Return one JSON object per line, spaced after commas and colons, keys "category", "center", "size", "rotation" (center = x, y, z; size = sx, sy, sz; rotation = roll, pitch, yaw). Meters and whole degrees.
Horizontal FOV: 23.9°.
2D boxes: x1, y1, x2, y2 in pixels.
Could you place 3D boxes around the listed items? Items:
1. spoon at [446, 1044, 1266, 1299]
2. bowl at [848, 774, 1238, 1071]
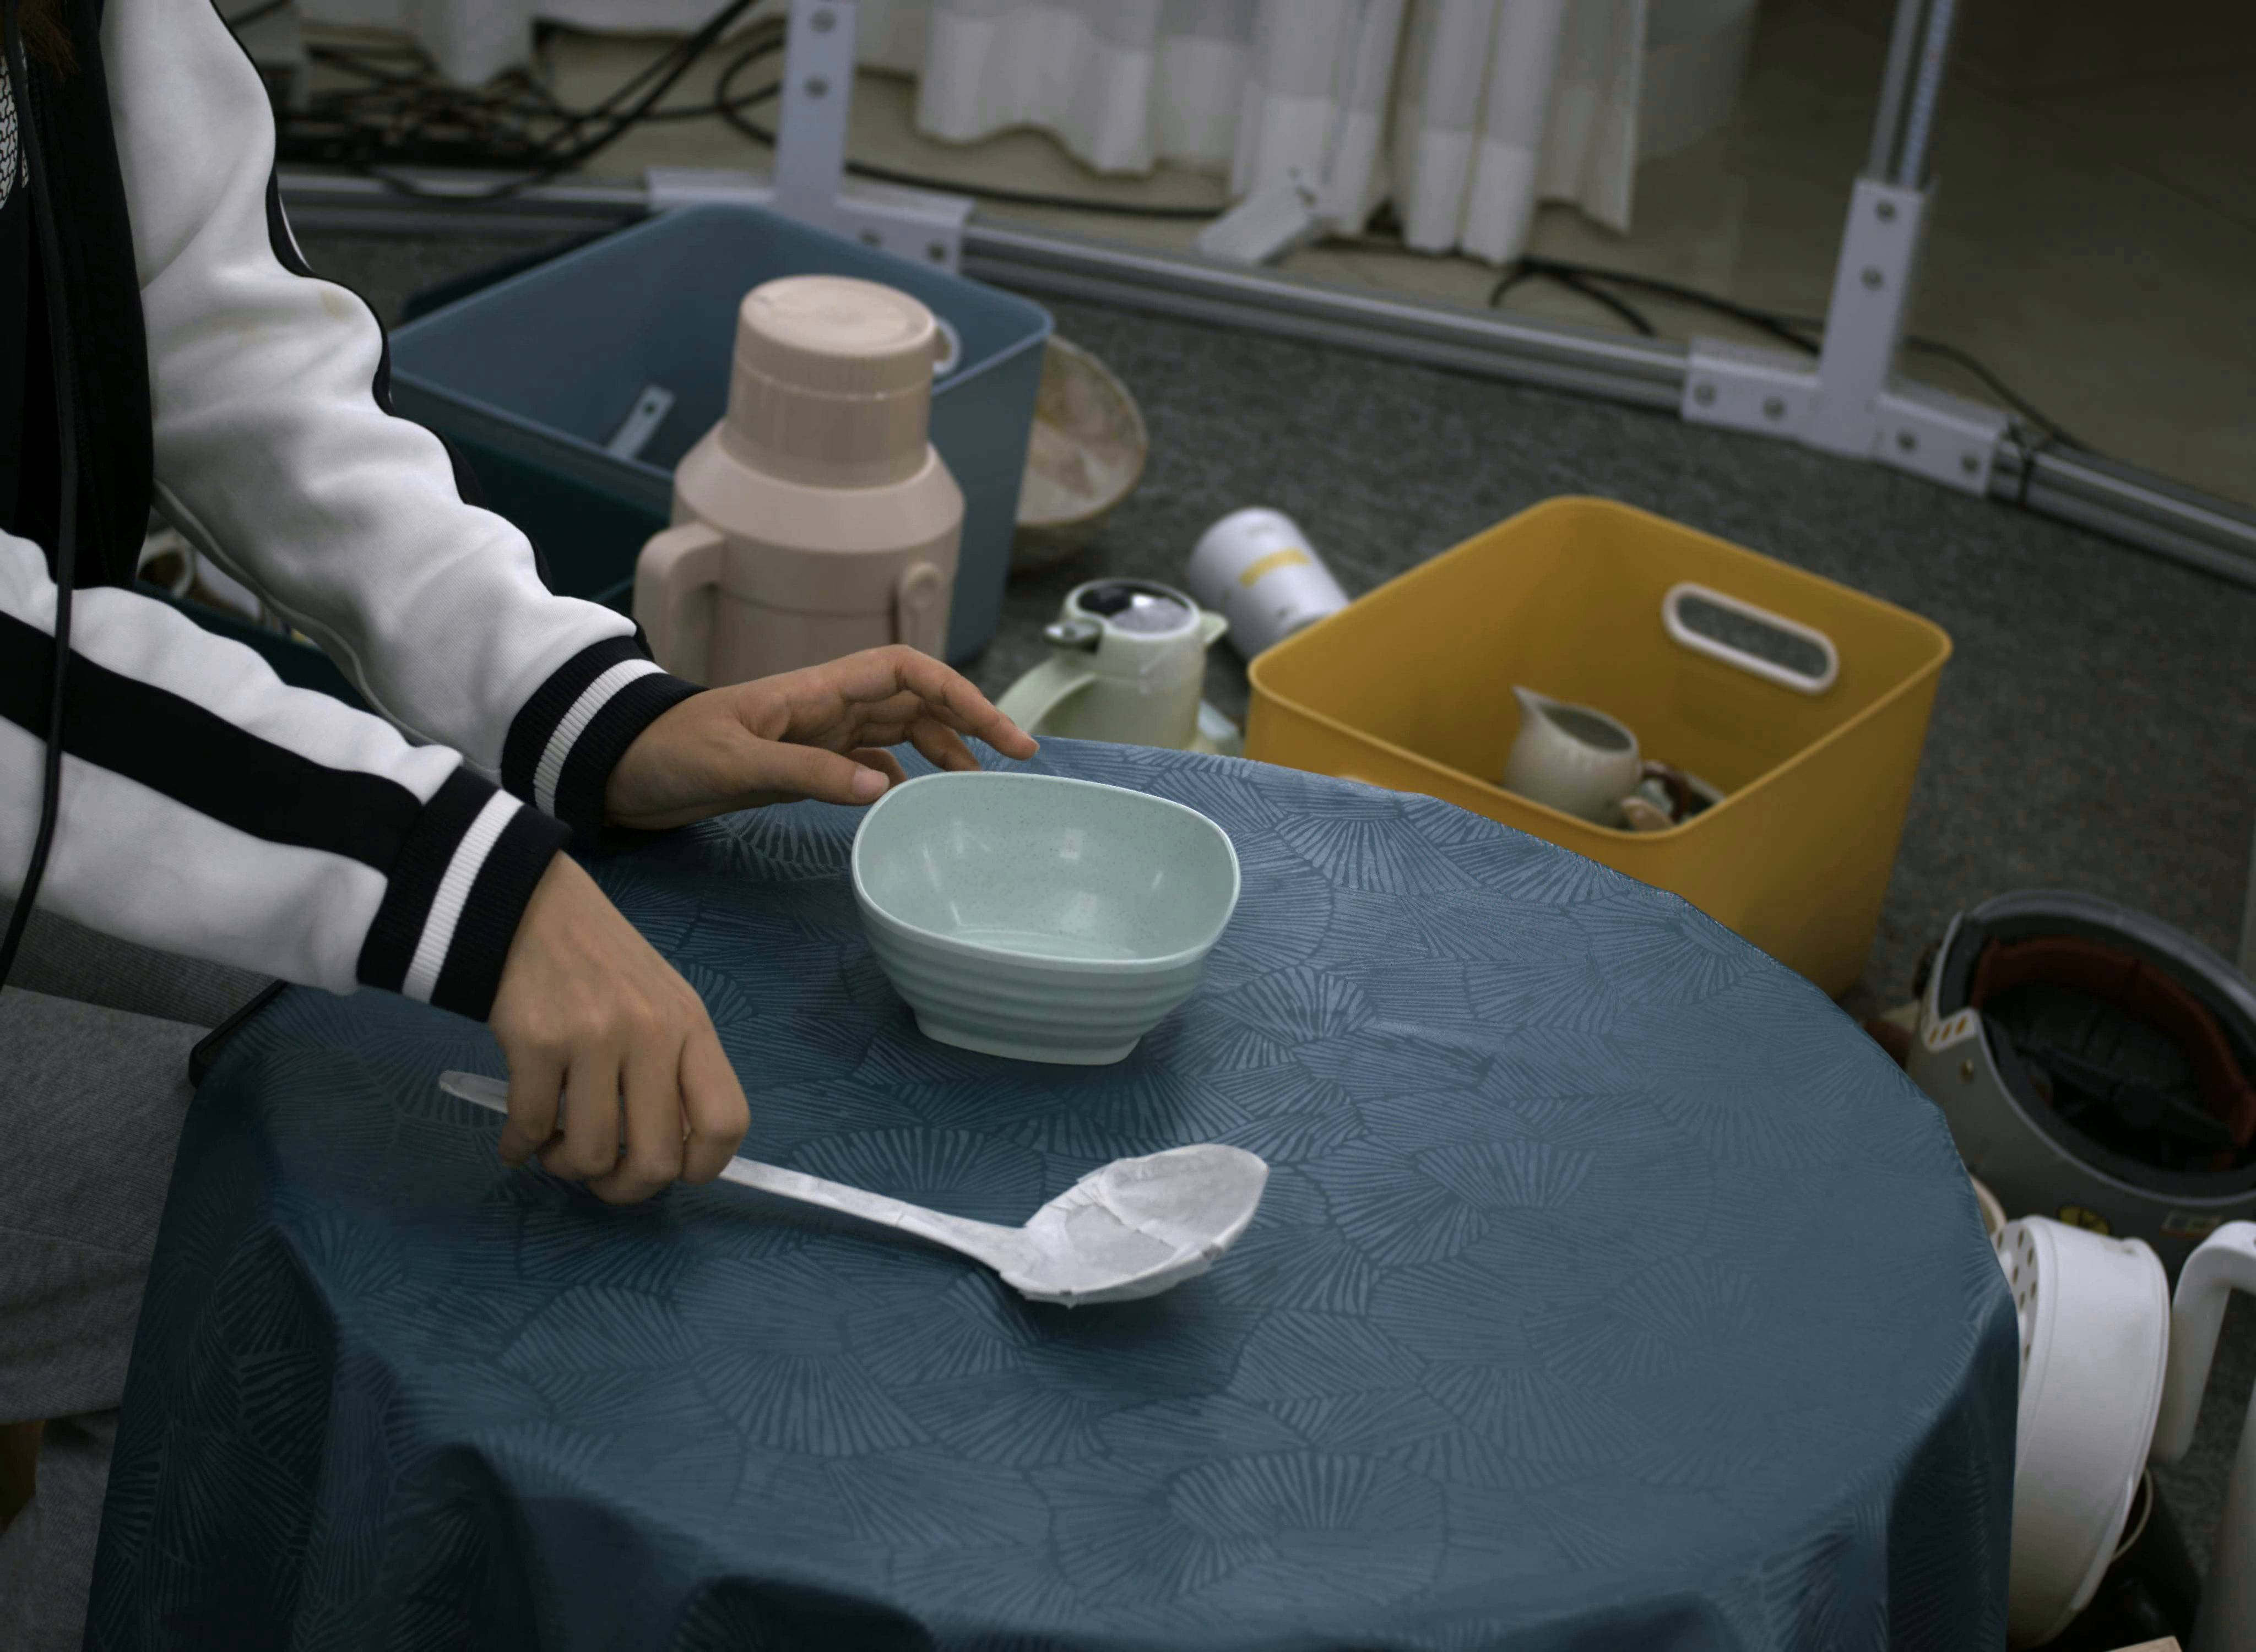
{"category": "spoon", "center": [-0.091, 0.096, 1.755], "size": [0.277, 0.059, 0.101], "rotation": [19, 22, 9]}
{"category": "bowl", "center": [-0.033, 0.040, 1.900], "size": [0.151, 0.058, 0.152], "rotation": [5, 27, -3]}
